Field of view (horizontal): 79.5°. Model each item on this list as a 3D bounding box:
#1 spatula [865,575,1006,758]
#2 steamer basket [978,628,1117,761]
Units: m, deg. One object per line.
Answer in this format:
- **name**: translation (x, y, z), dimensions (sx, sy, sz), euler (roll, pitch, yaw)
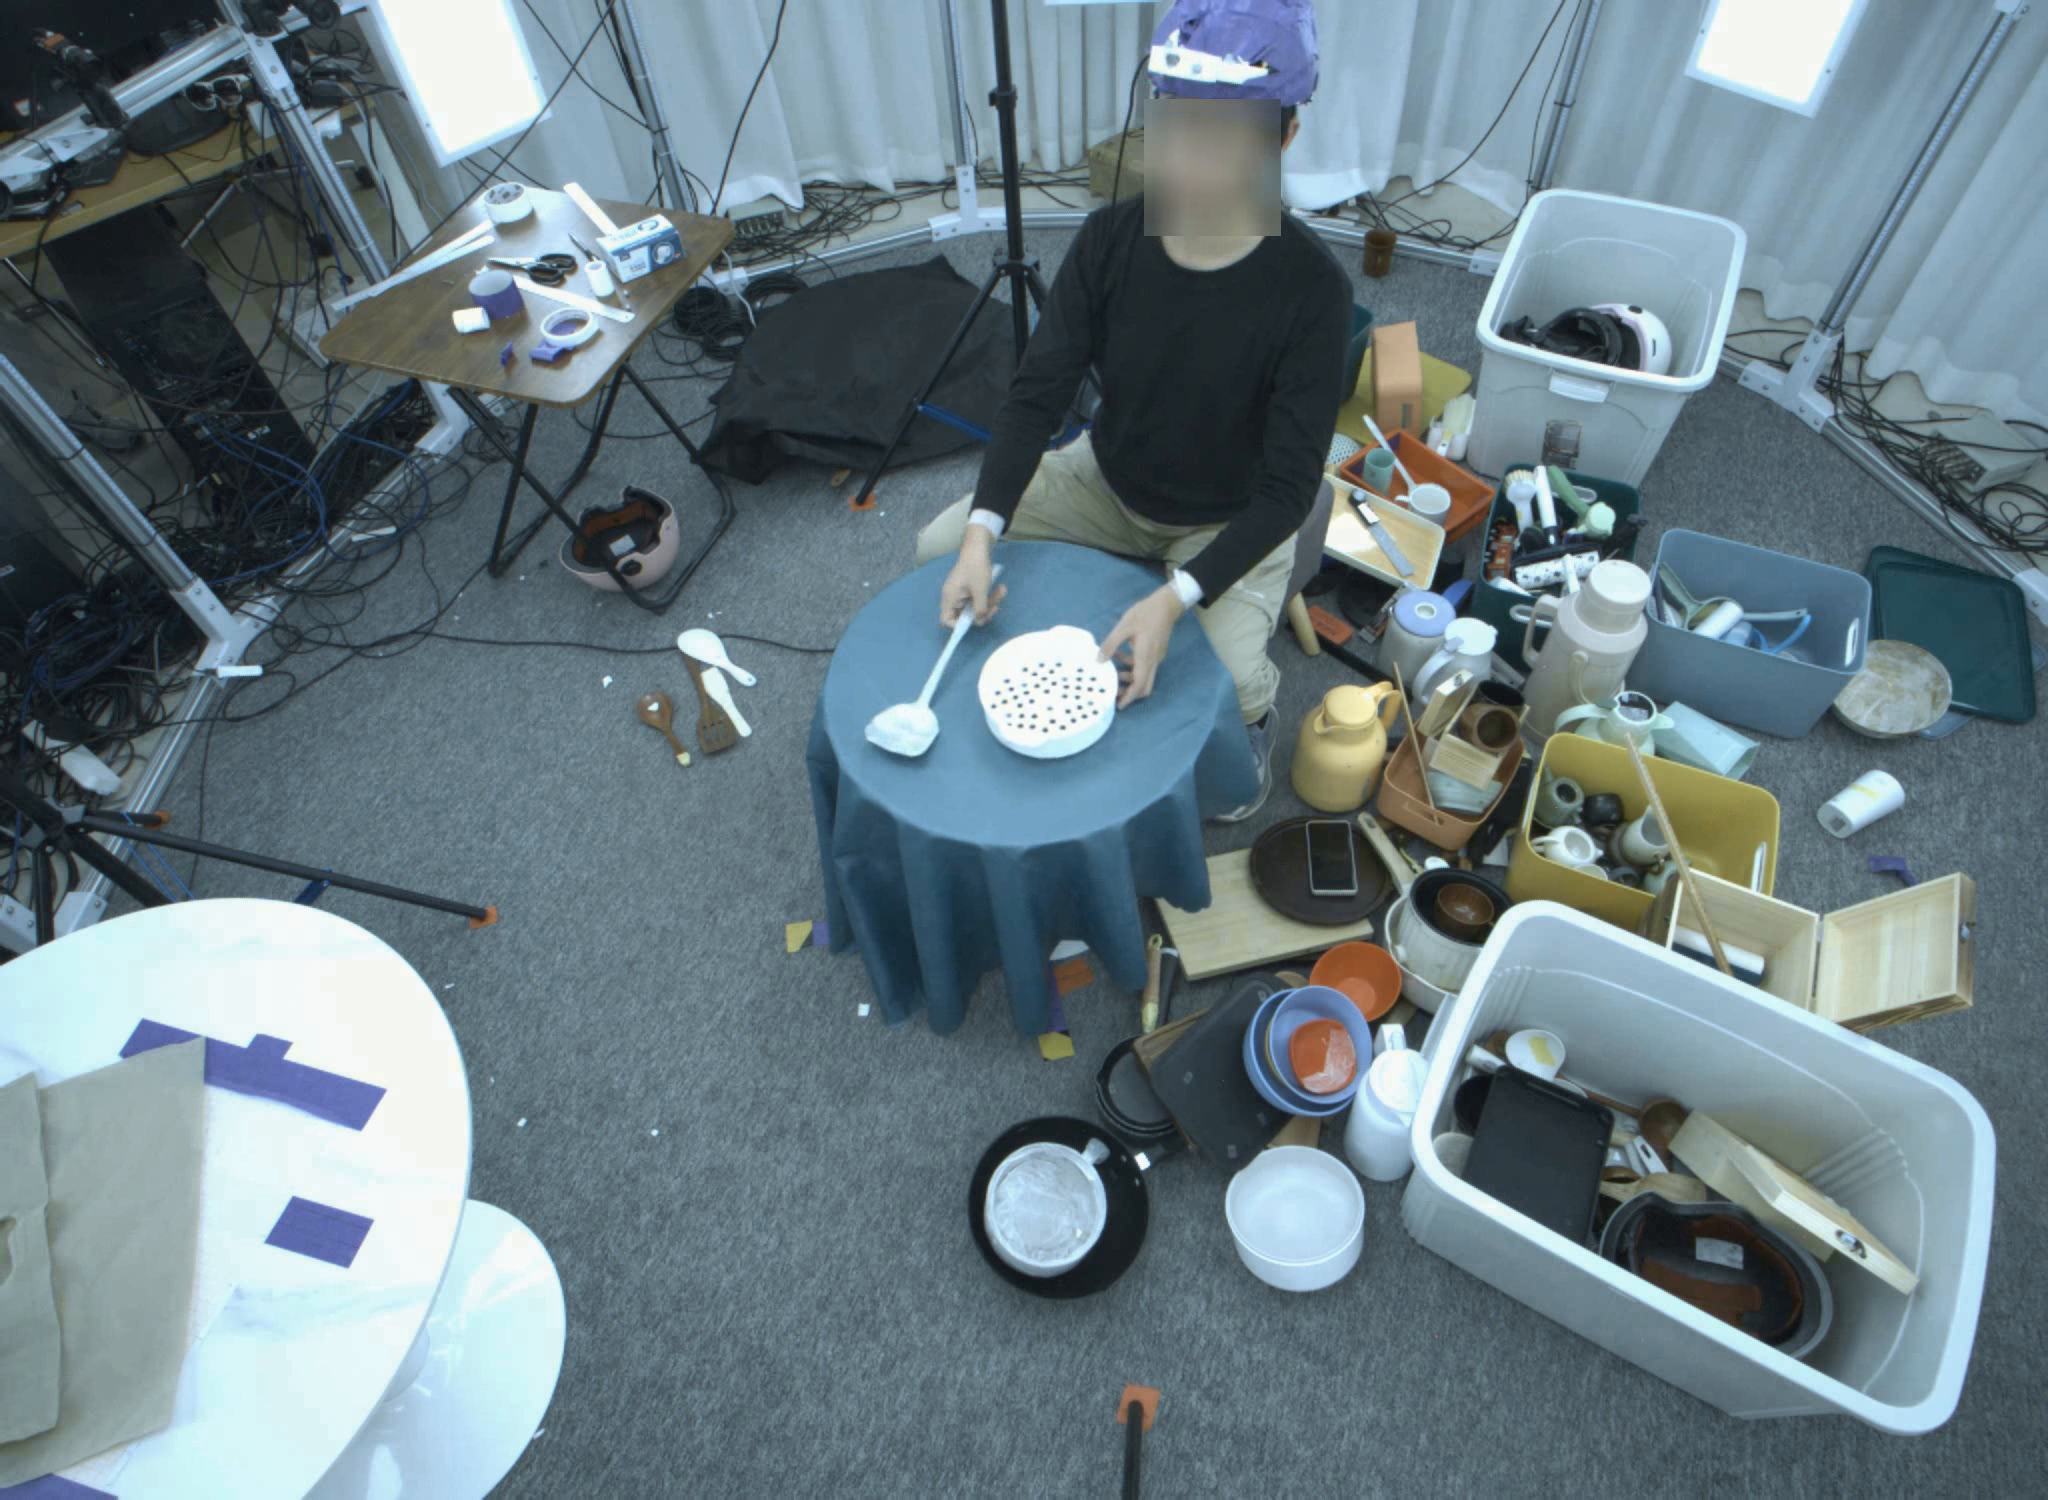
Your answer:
- **spatula**: translation (-0.117, -0.139, 1.846), dimensions (0.098, 0.045, 0.365), euler (22, 68, 11)
- **steamer basket**: translation (0.035, -0.076, 1.798), dimensions (0.200, 0.070, 0.230), euler (18, 57, 13)
